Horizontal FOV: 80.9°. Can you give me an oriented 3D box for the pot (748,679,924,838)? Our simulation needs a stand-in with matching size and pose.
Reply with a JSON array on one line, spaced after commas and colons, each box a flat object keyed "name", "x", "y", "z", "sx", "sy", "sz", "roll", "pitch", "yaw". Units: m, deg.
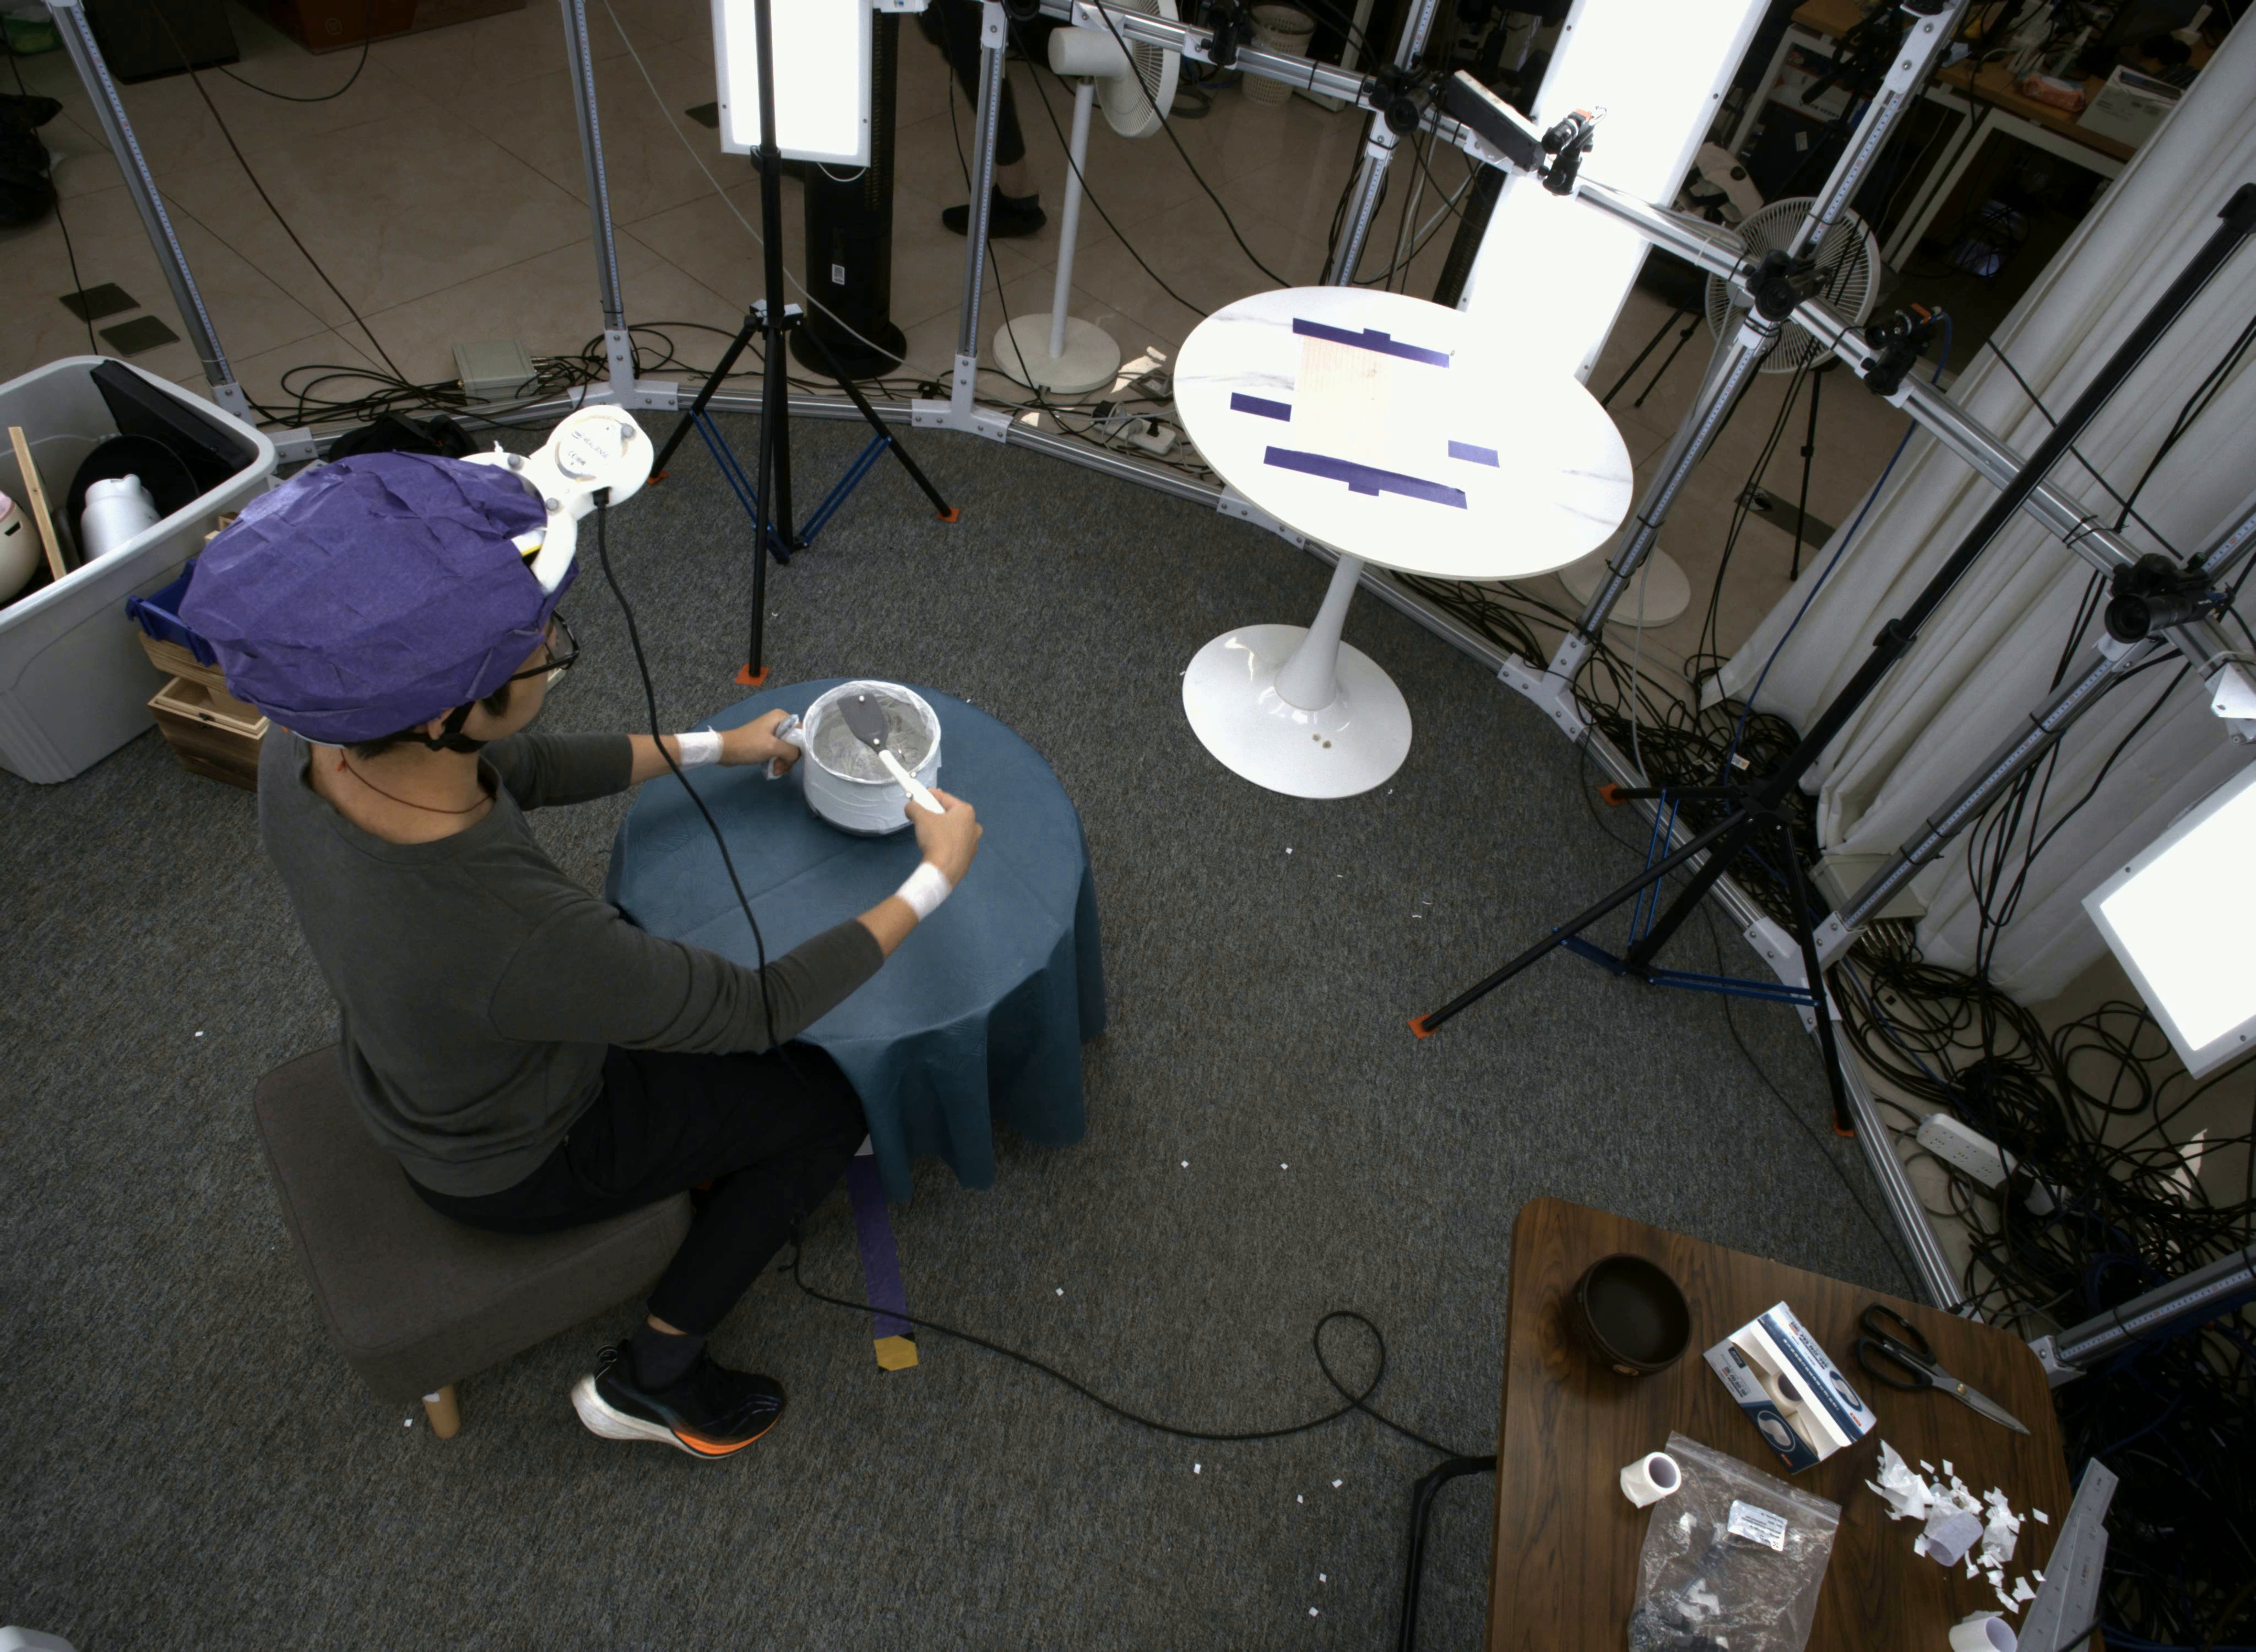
[{"name": "pot", "x": -0.389, "y": -0.088, "z": 1.721, "sx": 0.233, "sy": 0.139, "sz": 0.175, "roll": 6, "pitch": 52, "yaw": -9}]

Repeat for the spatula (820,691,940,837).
[{"name": "spatula", "x": -0.308, "y": -0.083, "z": 1.614, "sx": 0.059, "sy": 0.033, "sz": 0.277, "roll": -20, "pitch": 48, "yaw": -26}]
